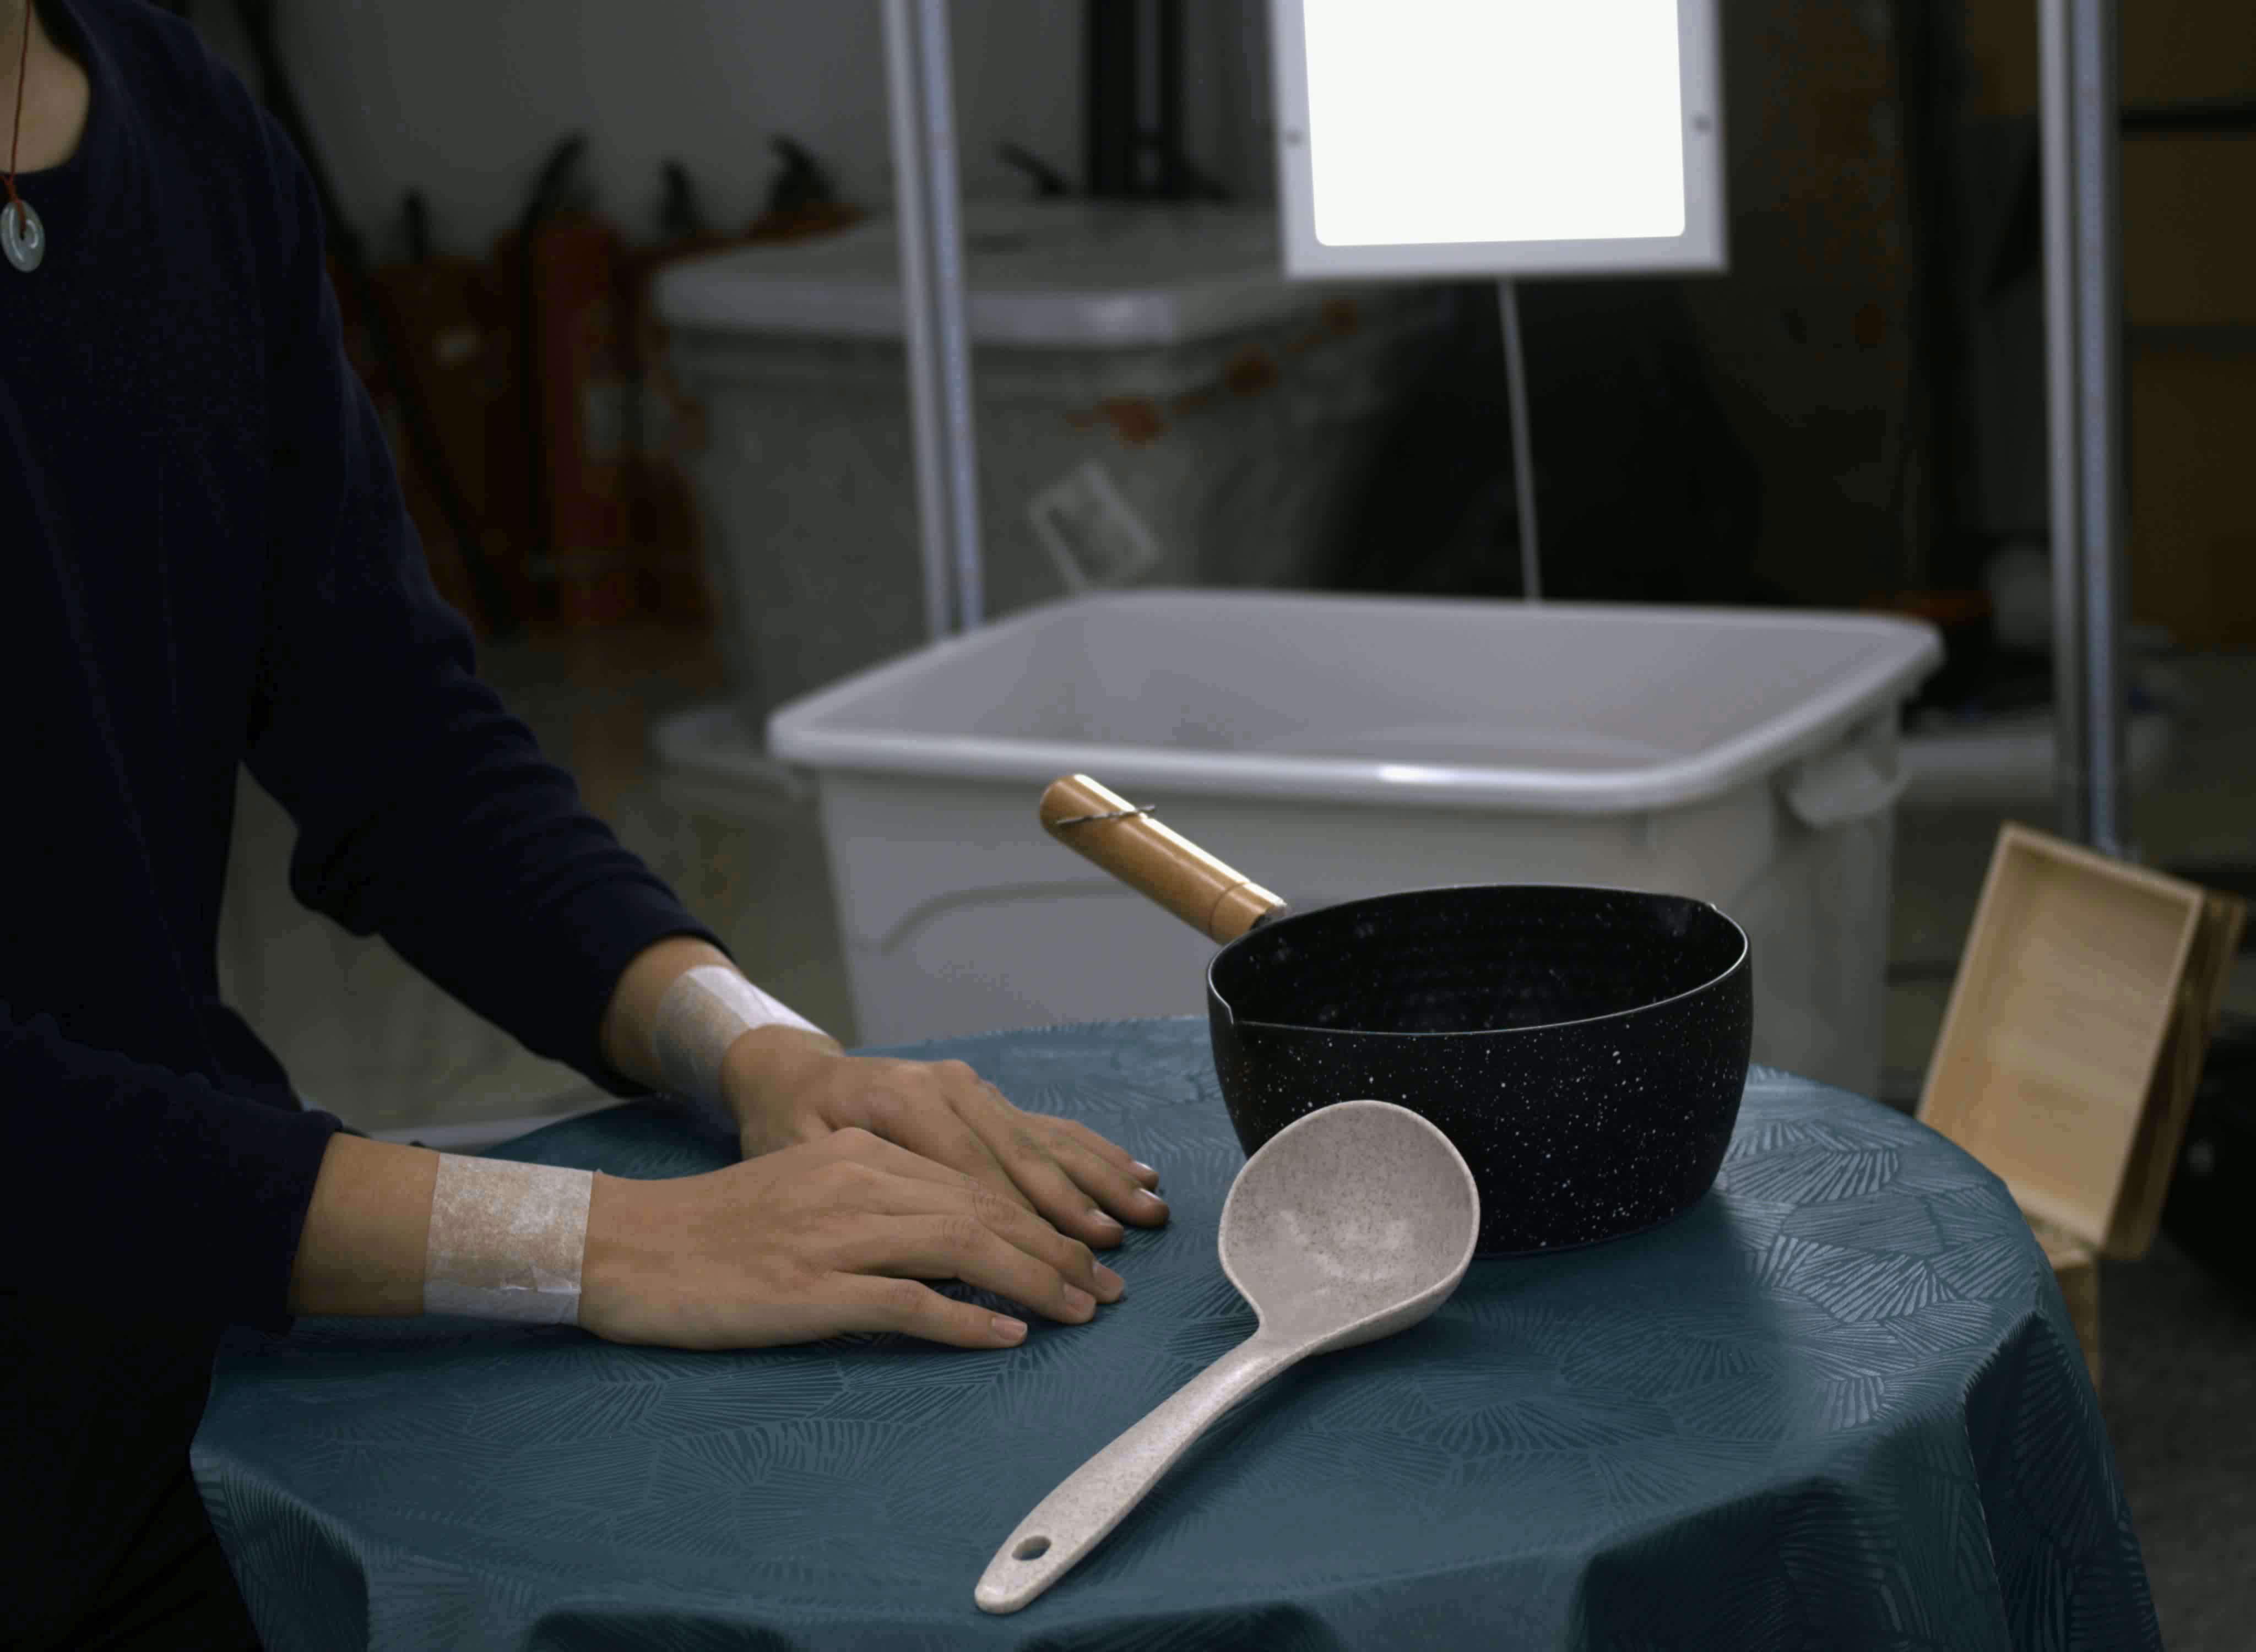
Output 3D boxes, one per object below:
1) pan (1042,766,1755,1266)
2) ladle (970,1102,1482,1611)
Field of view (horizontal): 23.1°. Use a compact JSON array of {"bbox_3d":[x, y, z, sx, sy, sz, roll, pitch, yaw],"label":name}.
[{"bbox_3d":[0.074,0.060,1.915,0.202,0.108,0.349,-15,18,-32],"label":"pan"},{"bbox_3d":[0.021,0.152,1.639,0.091,0.070,0.269,7,17,27],"label":"ladle"}]
